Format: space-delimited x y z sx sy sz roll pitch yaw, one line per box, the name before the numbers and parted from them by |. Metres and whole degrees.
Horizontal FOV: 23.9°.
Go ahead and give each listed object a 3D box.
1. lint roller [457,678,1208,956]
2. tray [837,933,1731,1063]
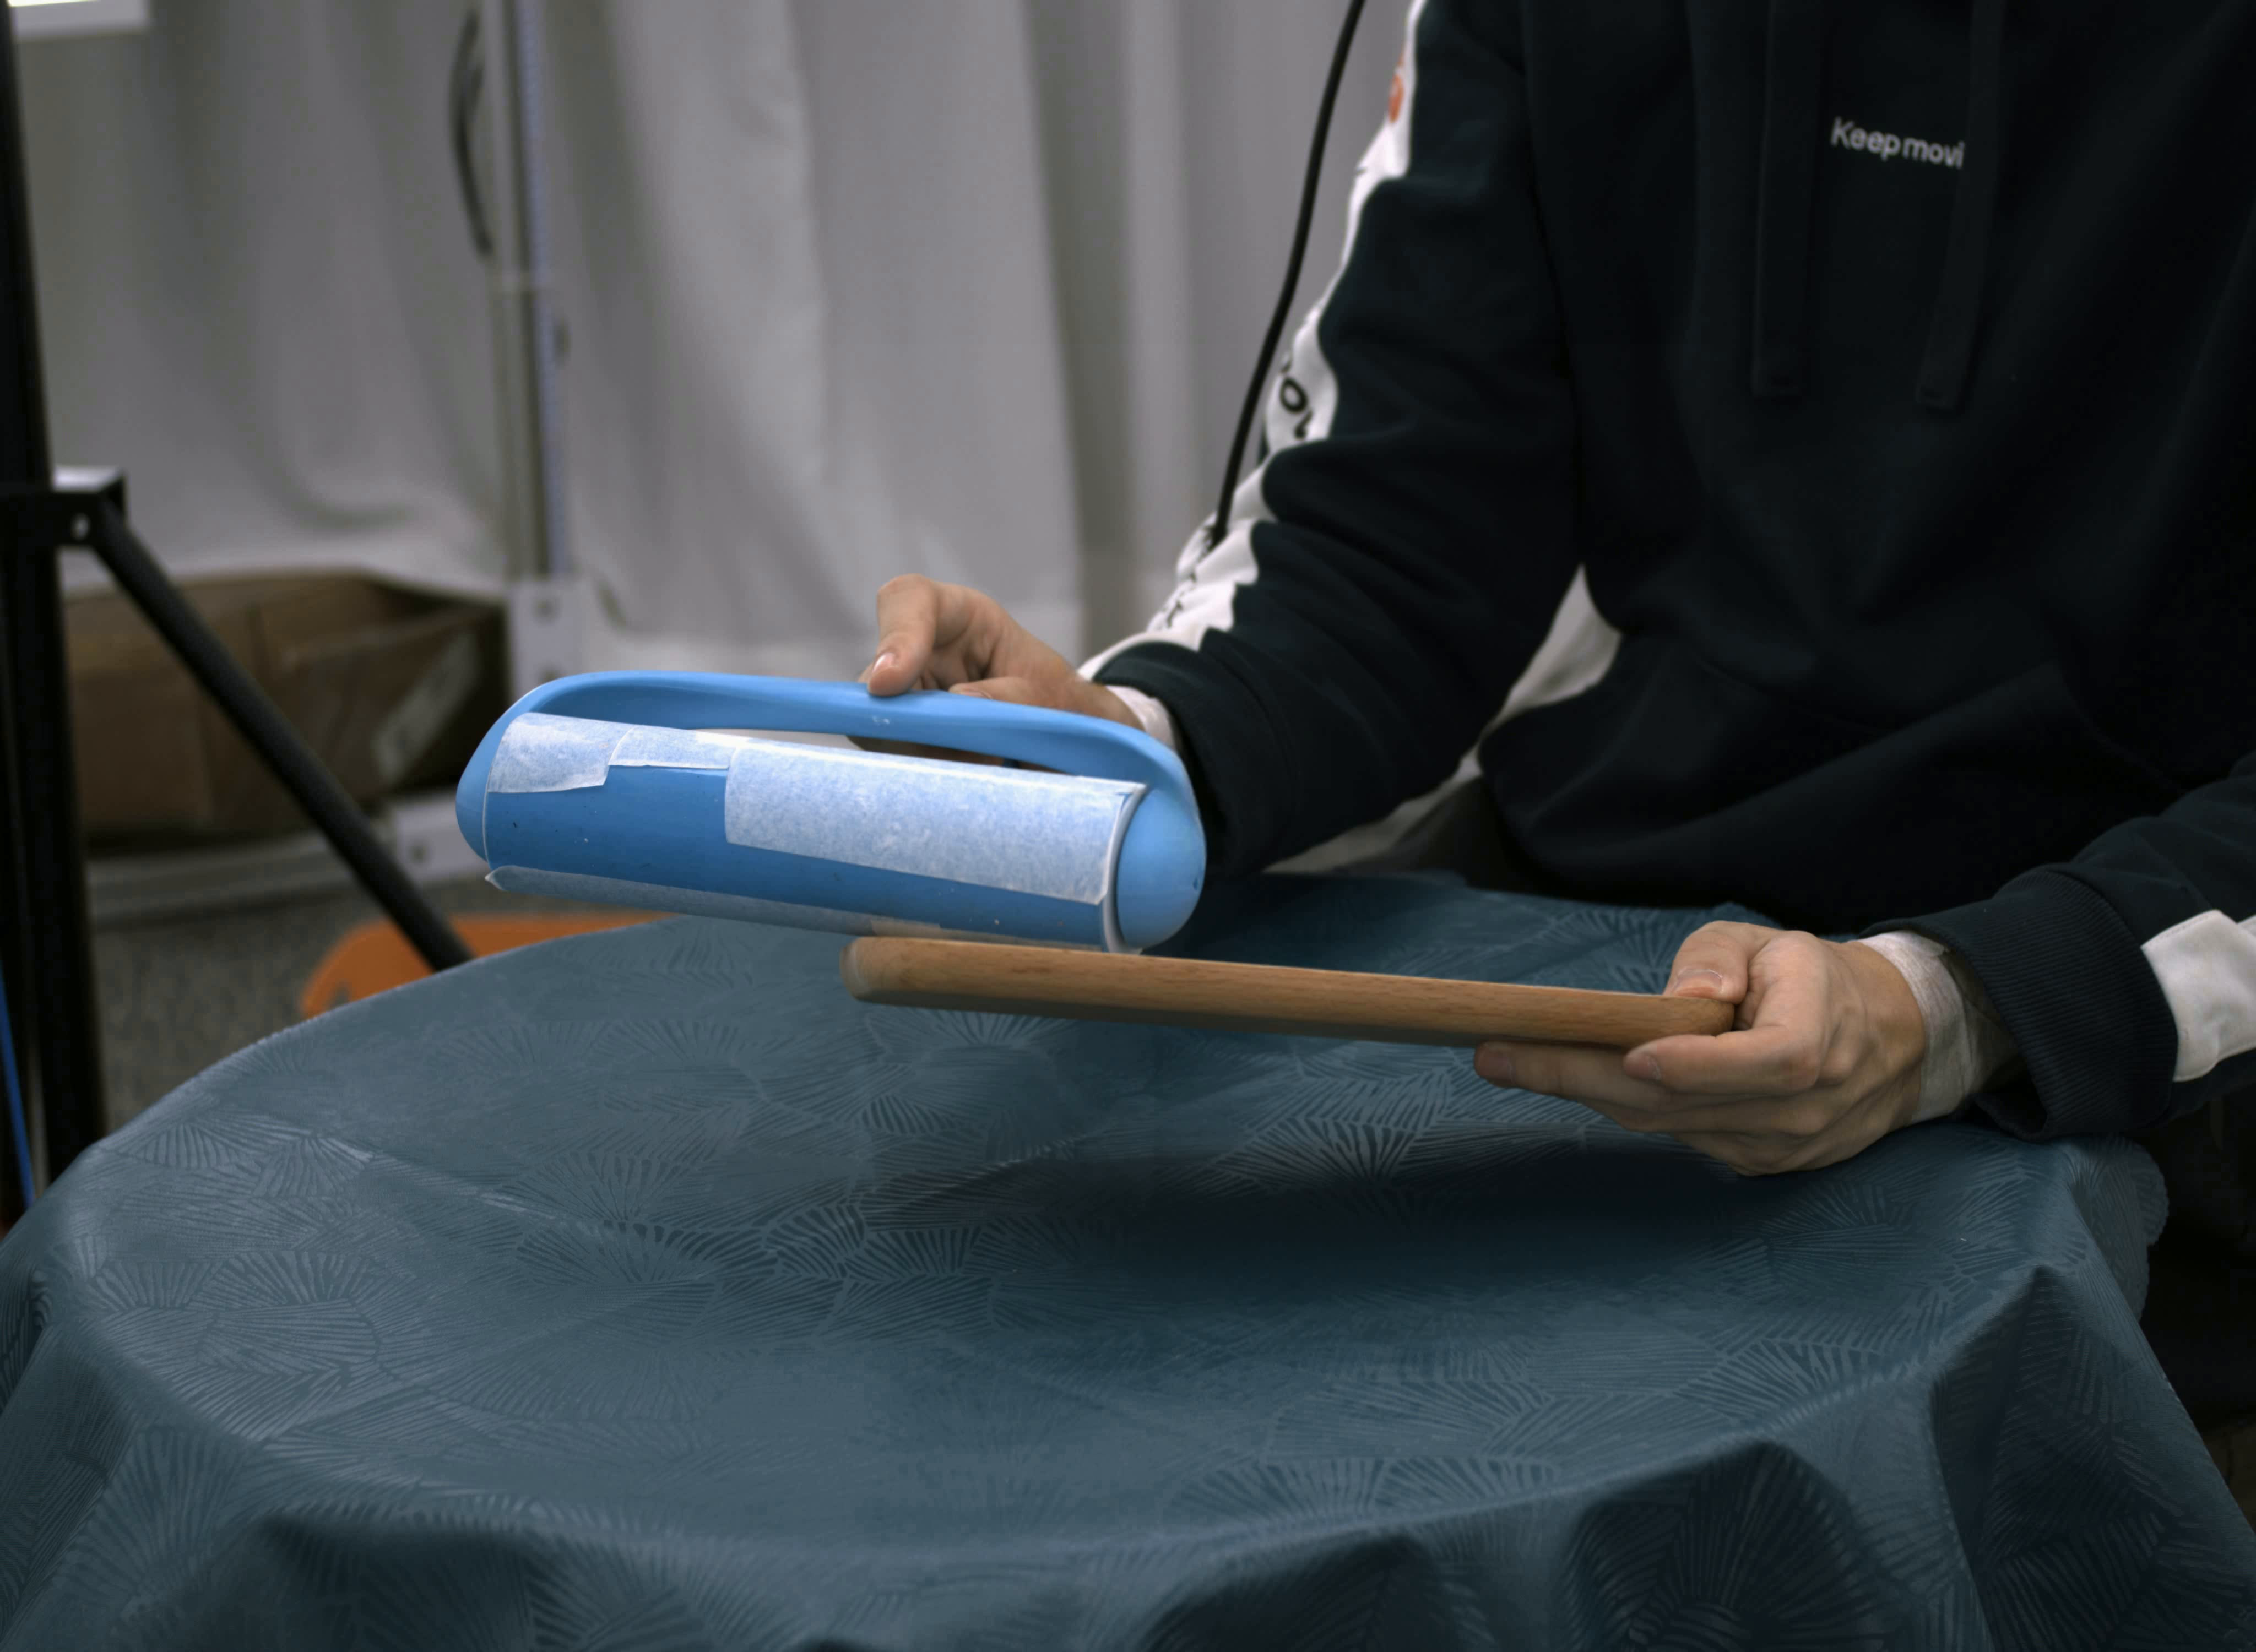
lint roller | -0.071 -0.010 1.592 0.231 0.068 0.178 4 14 17
tray | 0.042 0.050 1.521 0.249 0.023 0.131 4 -7 -4
